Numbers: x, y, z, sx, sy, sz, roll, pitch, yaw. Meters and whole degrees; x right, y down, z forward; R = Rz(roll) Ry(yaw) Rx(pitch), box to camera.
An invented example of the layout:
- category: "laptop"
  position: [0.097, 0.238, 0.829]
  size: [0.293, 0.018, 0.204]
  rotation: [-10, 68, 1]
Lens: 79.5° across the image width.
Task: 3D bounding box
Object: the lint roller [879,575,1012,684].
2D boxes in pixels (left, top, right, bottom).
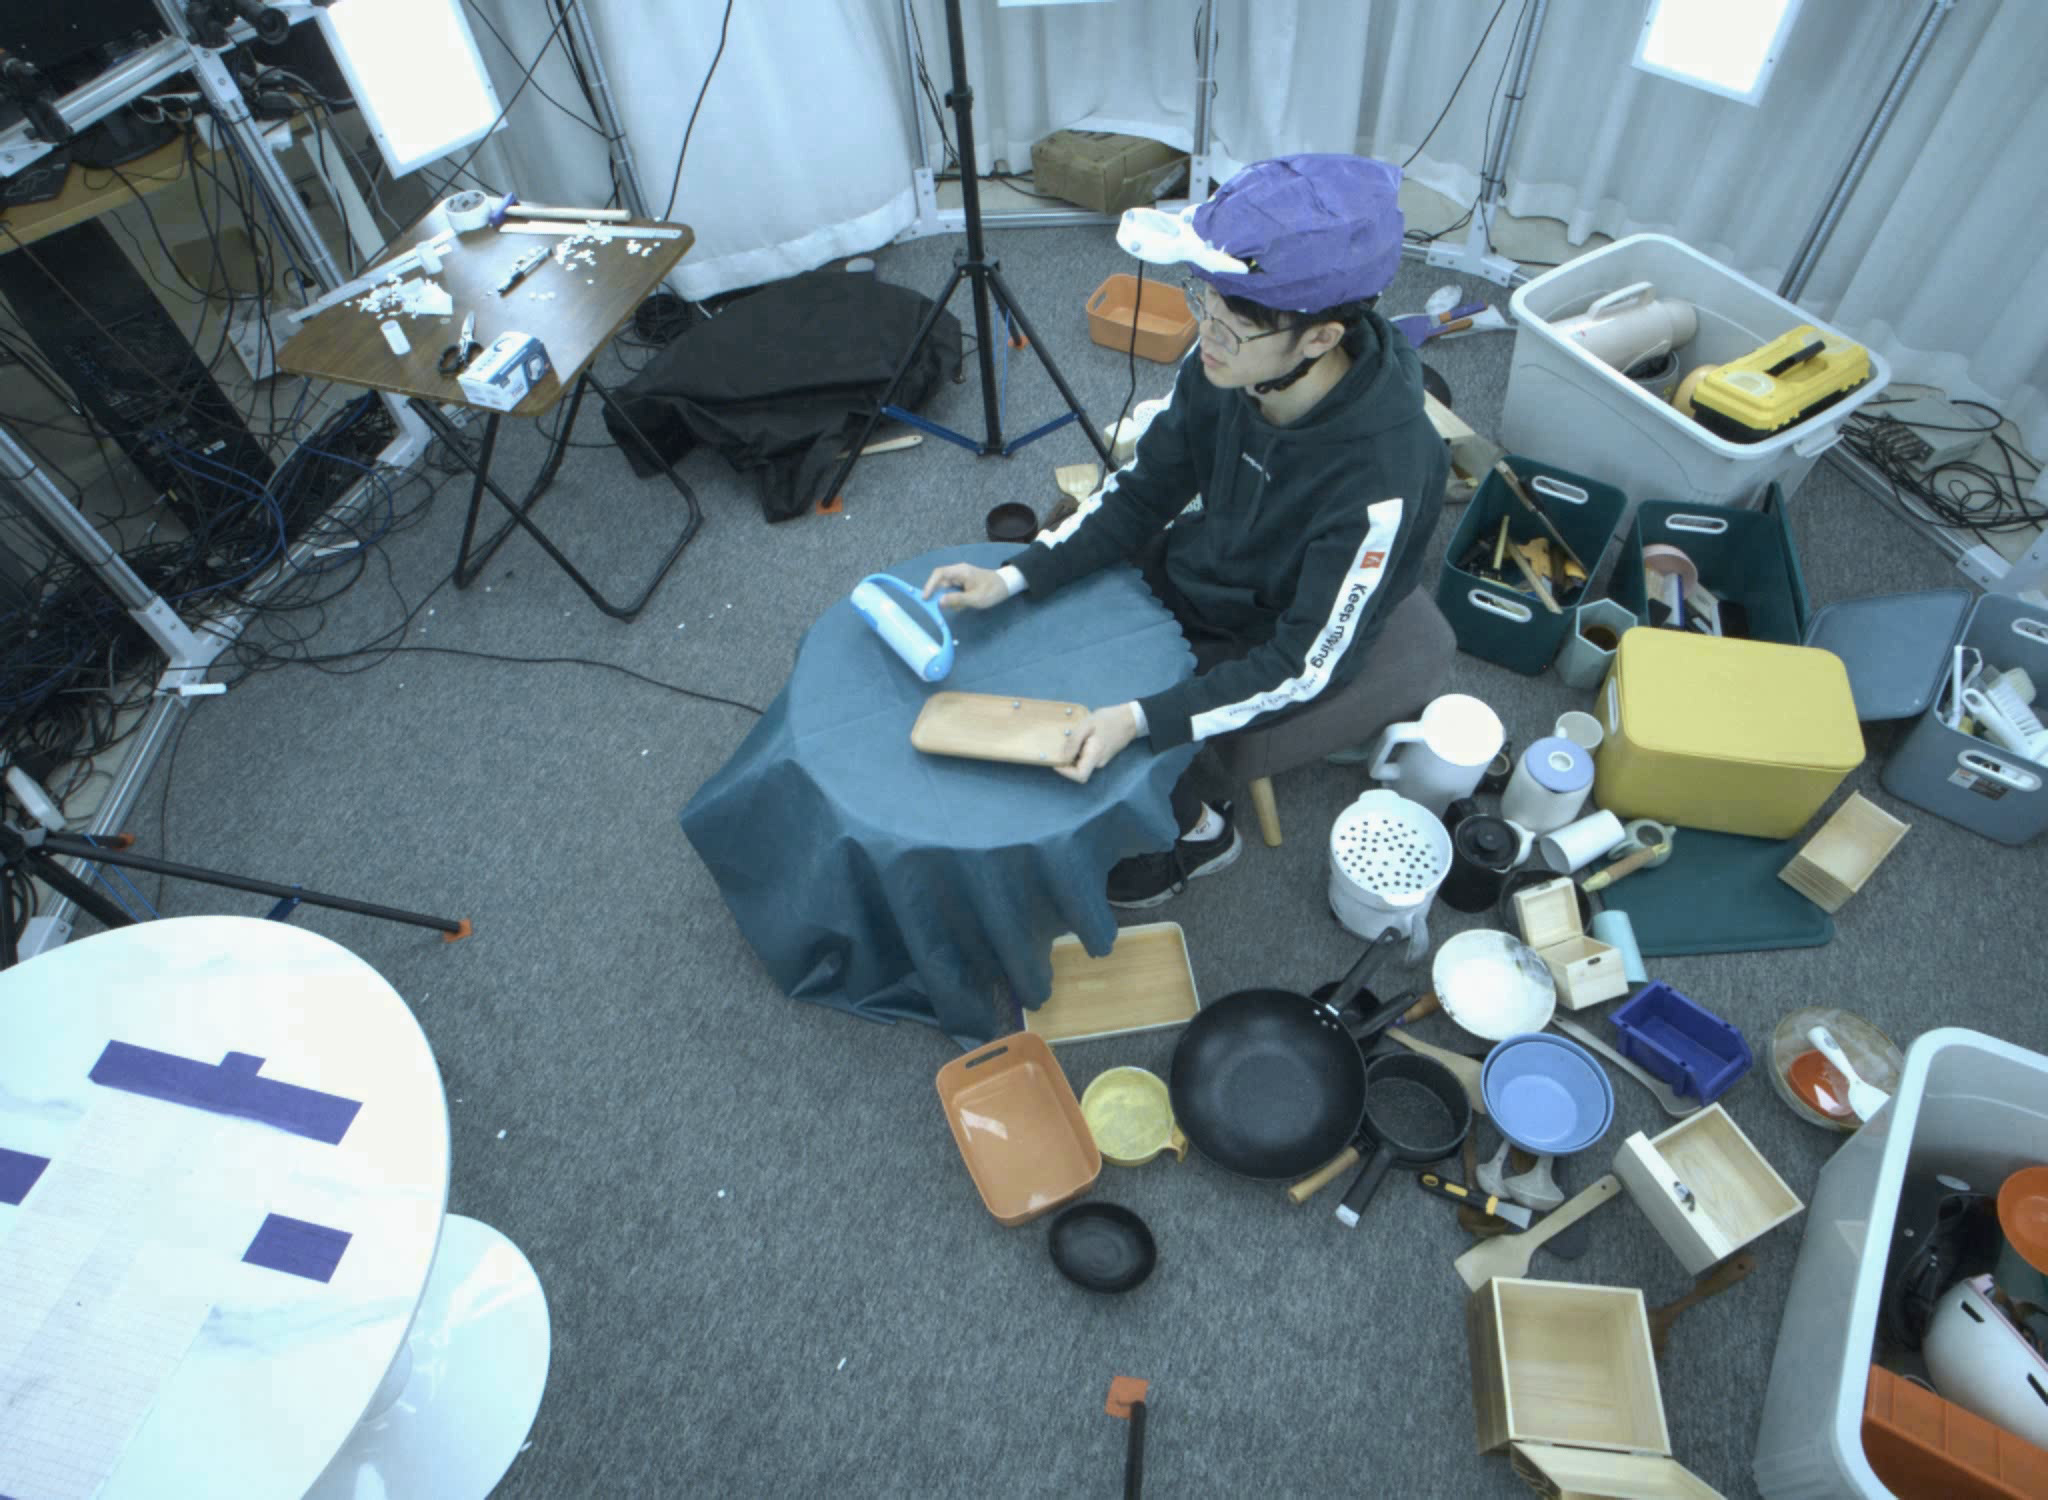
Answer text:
- category: "lint roller"
  position: [-0.097, -0.208, 1.862]
  size: [0.182, 0.068, 0.224]
  rotation: [-35, 59, -22]

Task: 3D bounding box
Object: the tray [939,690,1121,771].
- category: "tray"
  position: [0.008, -0.029, 1.770]
  size: [0.248, 0.023, 0.130]
  rotation: [9, 42, 15]
